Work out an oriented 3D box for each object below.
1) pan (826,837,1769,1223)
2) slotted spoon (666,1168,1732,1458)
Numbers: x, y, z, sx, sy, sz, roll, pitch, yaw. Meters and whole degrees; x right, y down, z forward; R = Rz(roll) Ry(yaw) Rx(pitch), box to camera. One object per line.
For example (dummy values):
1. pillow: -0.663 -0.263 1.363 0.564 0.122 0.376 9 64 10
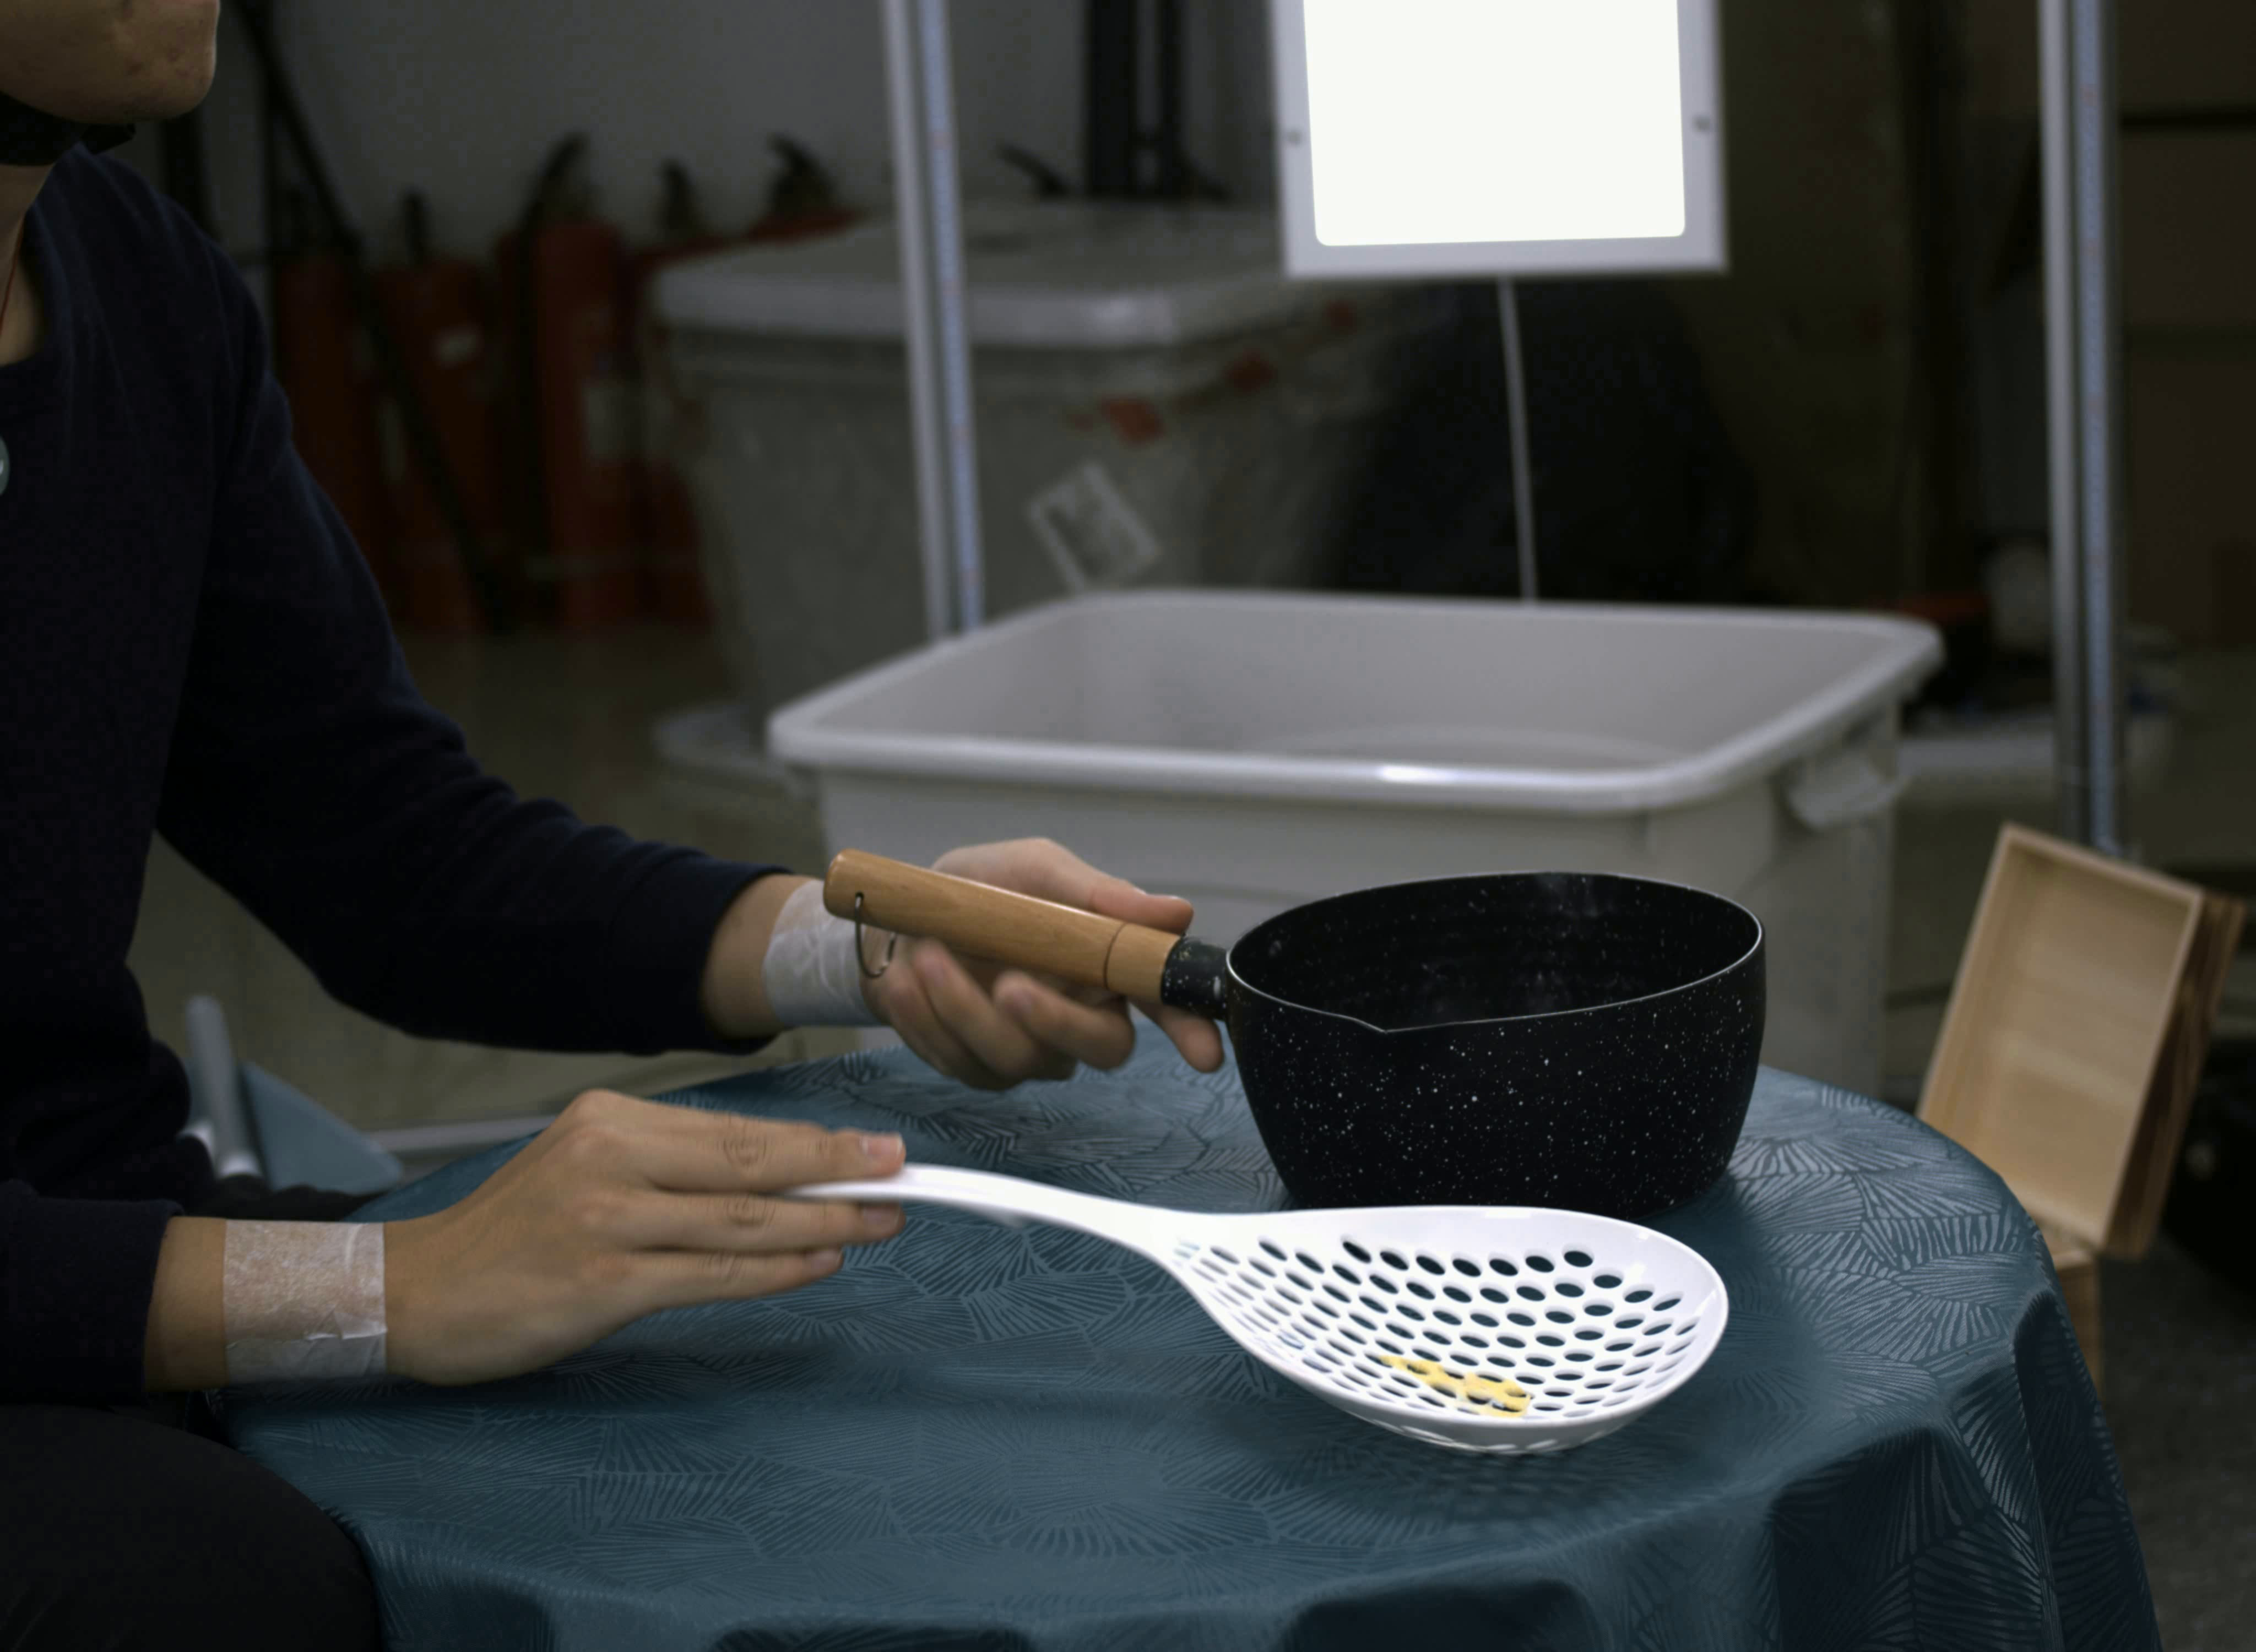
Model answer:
1. pan: 0.053 0.065 1.897 0.348 0.108 0.203 3 17 23
2. slotted spoon: 0.014 0.134 1.685 0.353 0.050 0.134 14 30 24
